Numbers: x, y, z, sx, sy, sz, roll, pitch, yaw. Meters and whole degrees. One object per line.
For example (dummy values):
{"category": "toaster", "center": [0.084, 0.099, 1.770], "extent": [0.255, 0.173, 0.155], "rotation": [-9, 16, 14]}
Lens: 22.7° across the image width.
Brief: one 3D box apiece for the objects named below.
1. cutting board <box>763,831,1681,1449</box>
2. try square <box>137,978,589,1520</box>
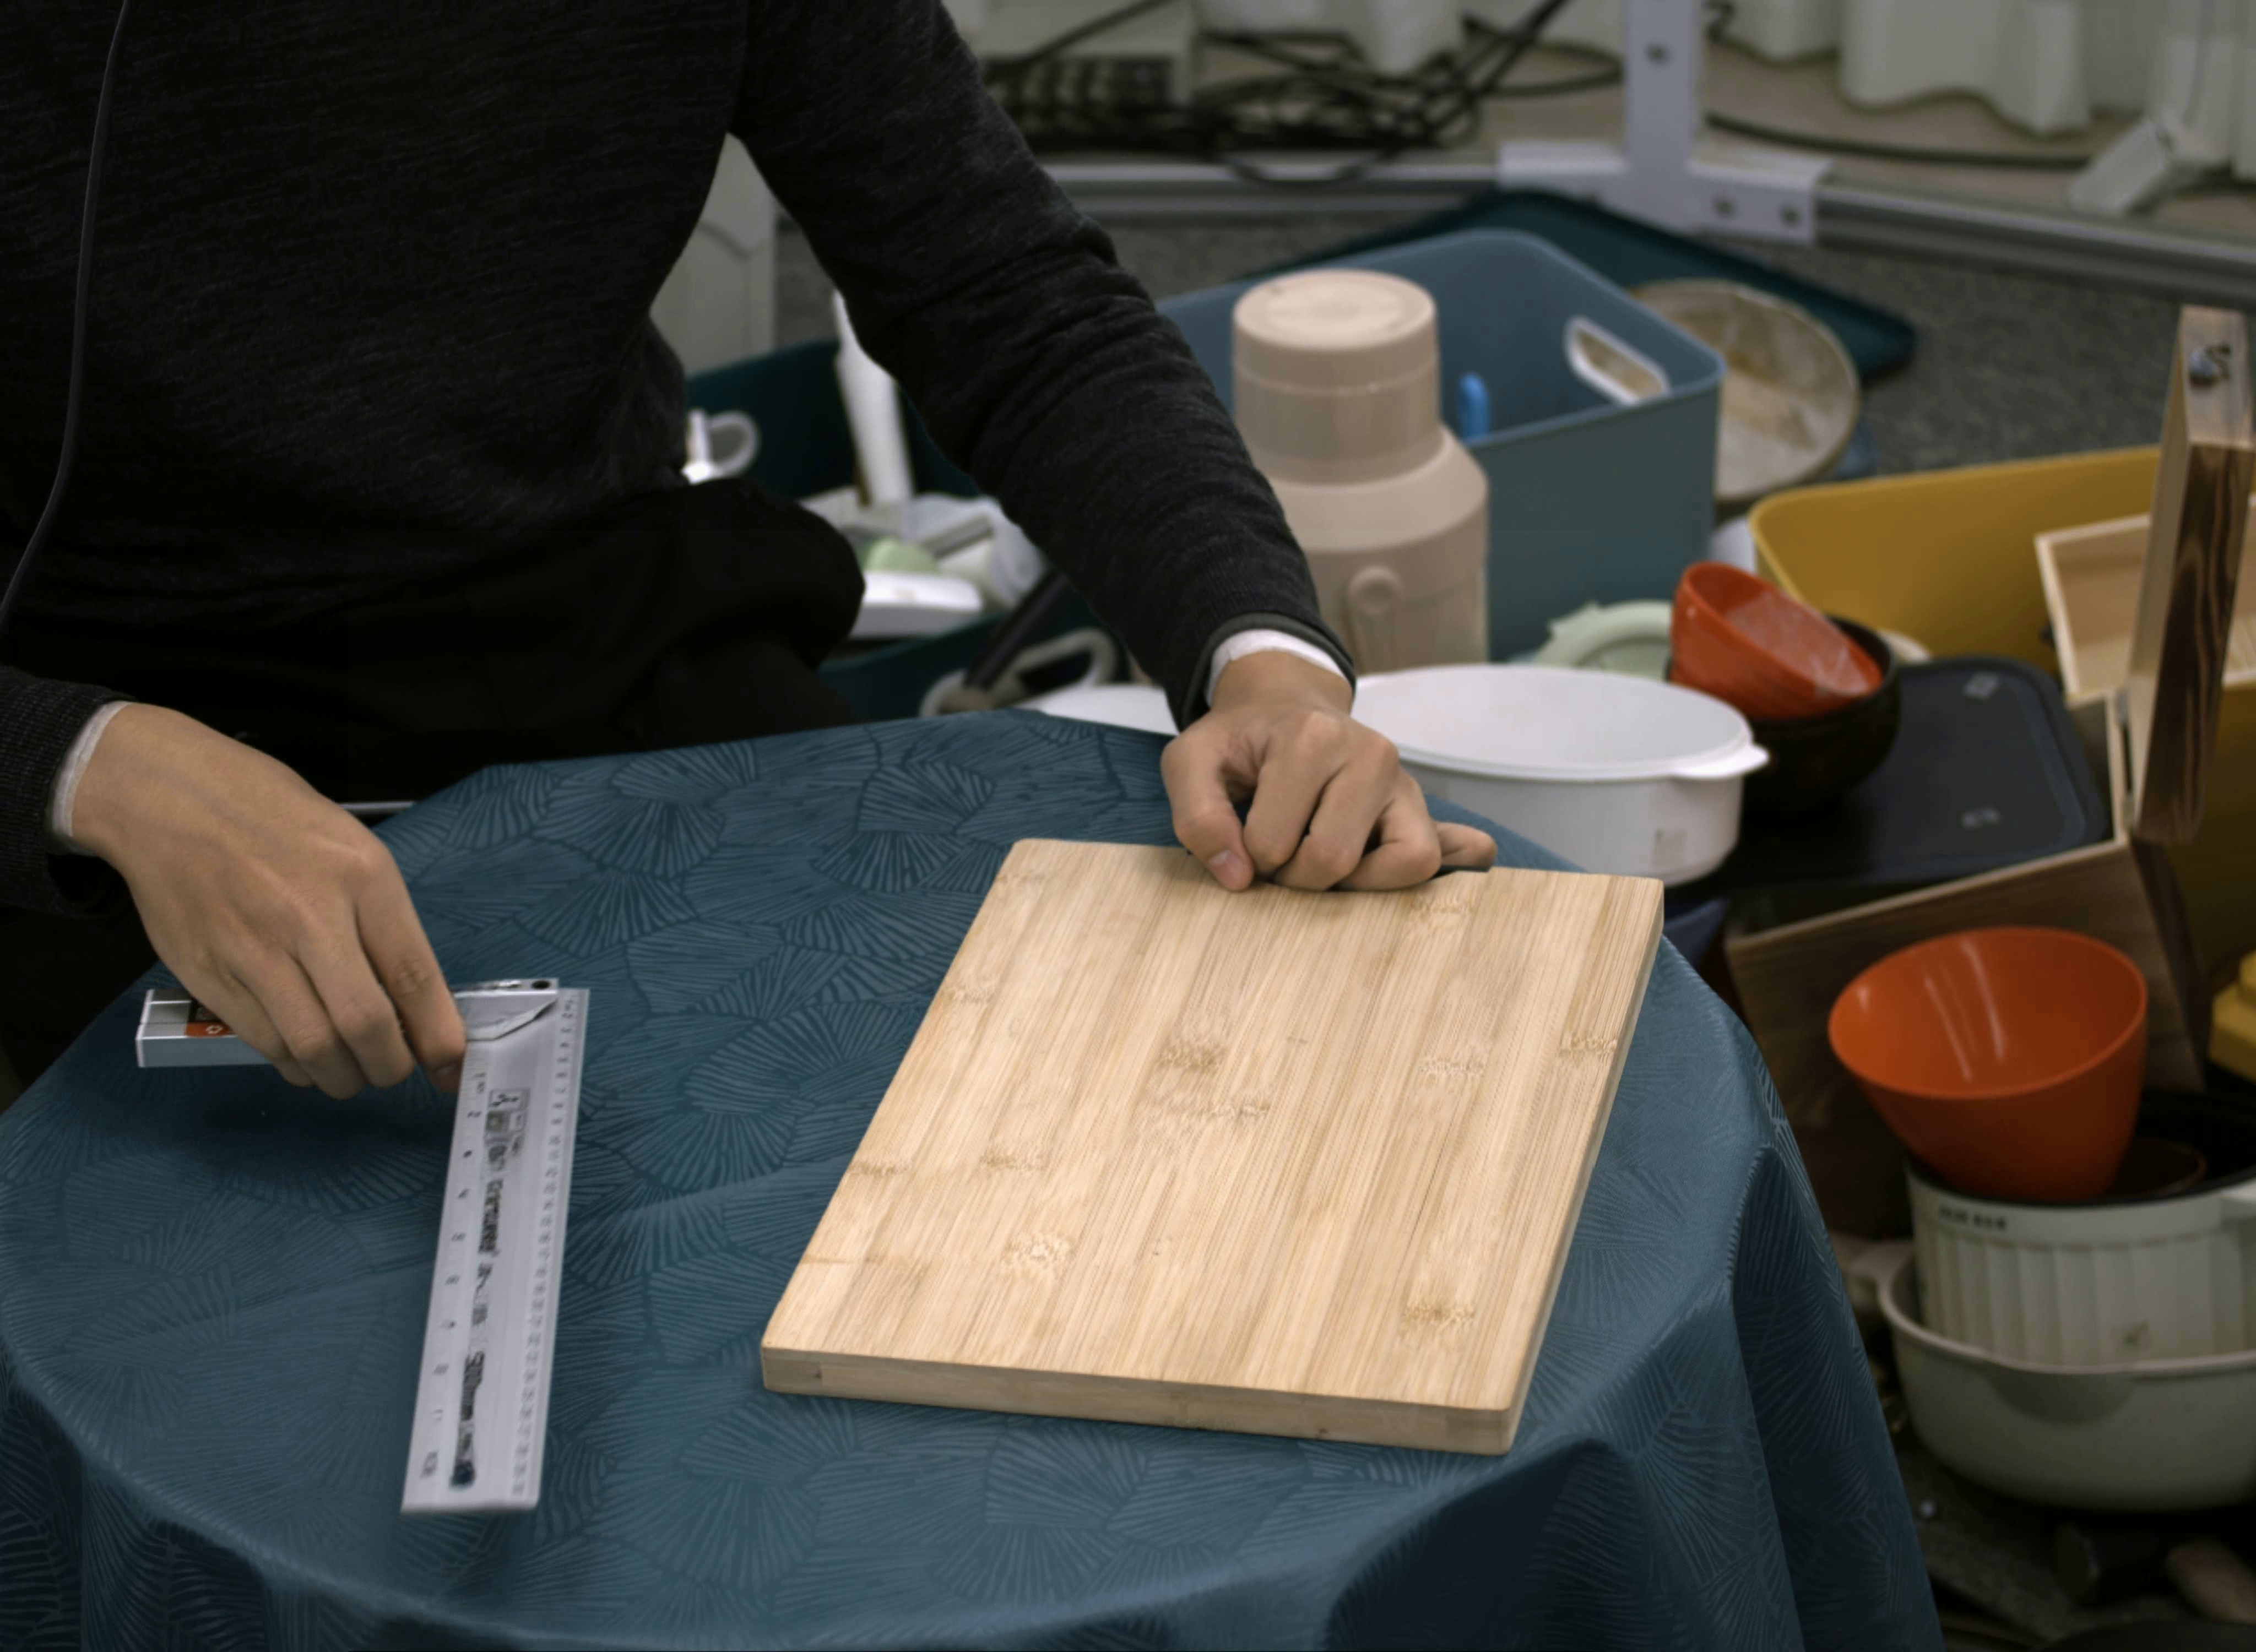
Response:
{"category": "cutting board", "center": [0.040, 0.097, 1.887], "extent": [0.249, 0.023, 0.354], "rotation": [3, 28, 11]}
{"category": "try square", "center": [-0.255, 0.132, 1.788], "extent": [0.151, 0.016, 0.317], "rotation": [-2, 28, -1]}
